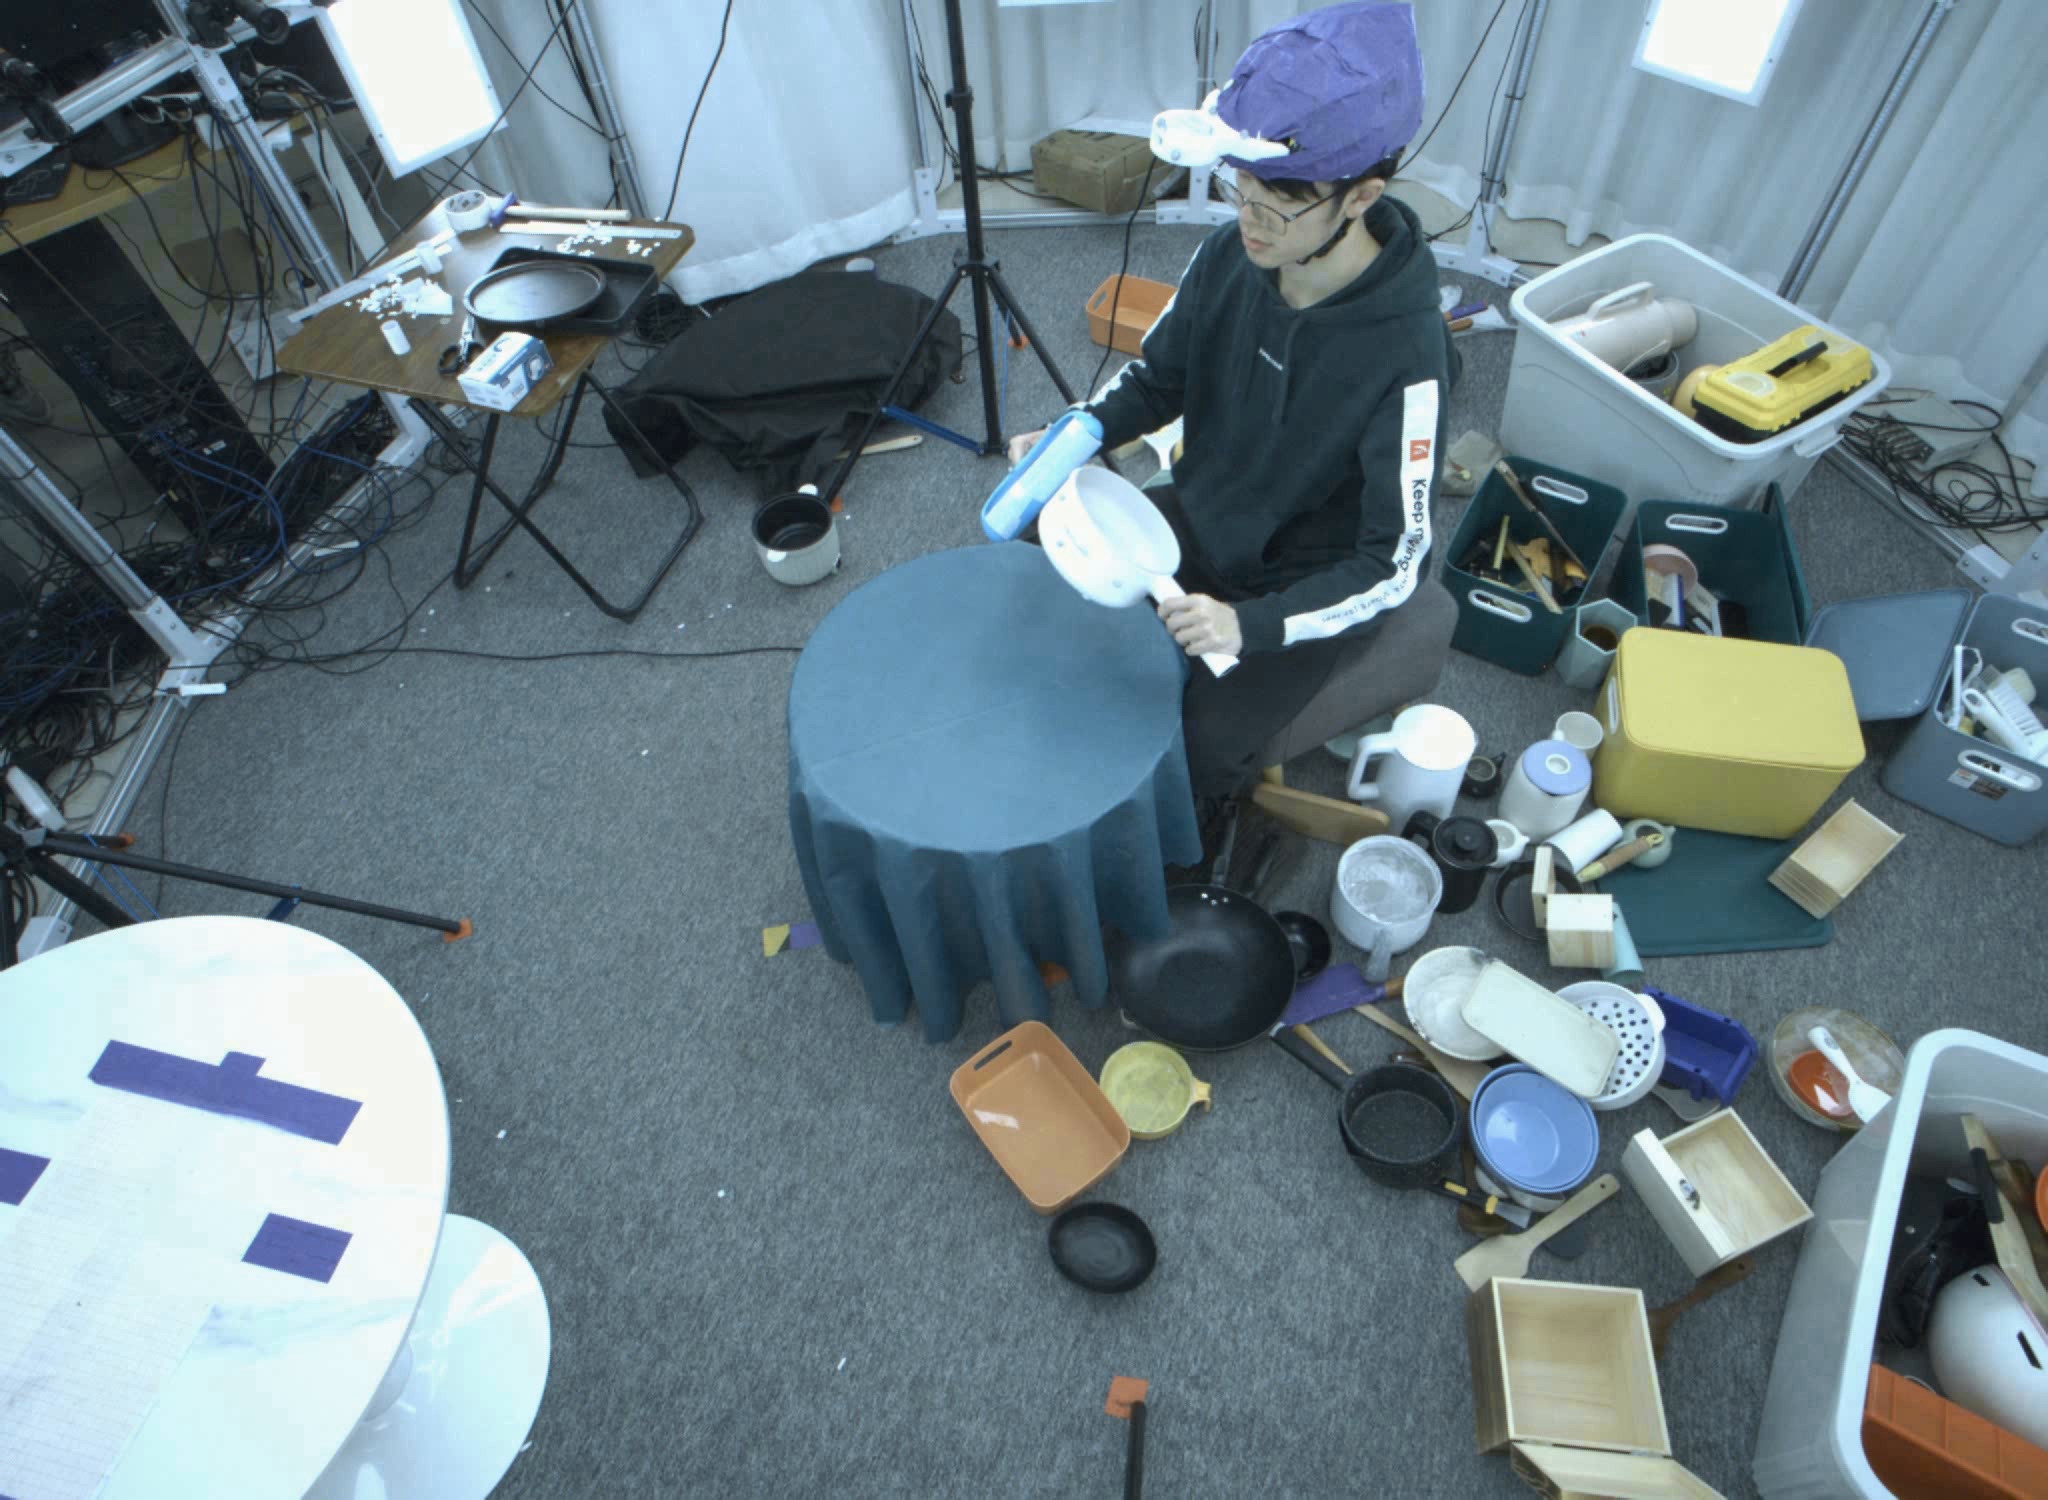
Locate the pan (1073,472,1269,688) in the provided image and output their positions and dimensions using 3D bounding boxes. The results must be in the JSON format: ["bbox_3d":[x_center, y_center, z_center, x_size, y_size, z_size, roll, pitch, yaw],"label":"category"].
[{"bbox_3d":[0.204,-0.222,1.720,0.204,0.101,0.353,-23,77,-54],"label":"pan"}]

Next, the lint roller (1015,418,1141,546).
[{"bbox_3d":[0.074,-0.401,1.778,0.228,0.069,0.178,-46,19,17],"label":"lint roller"}]
